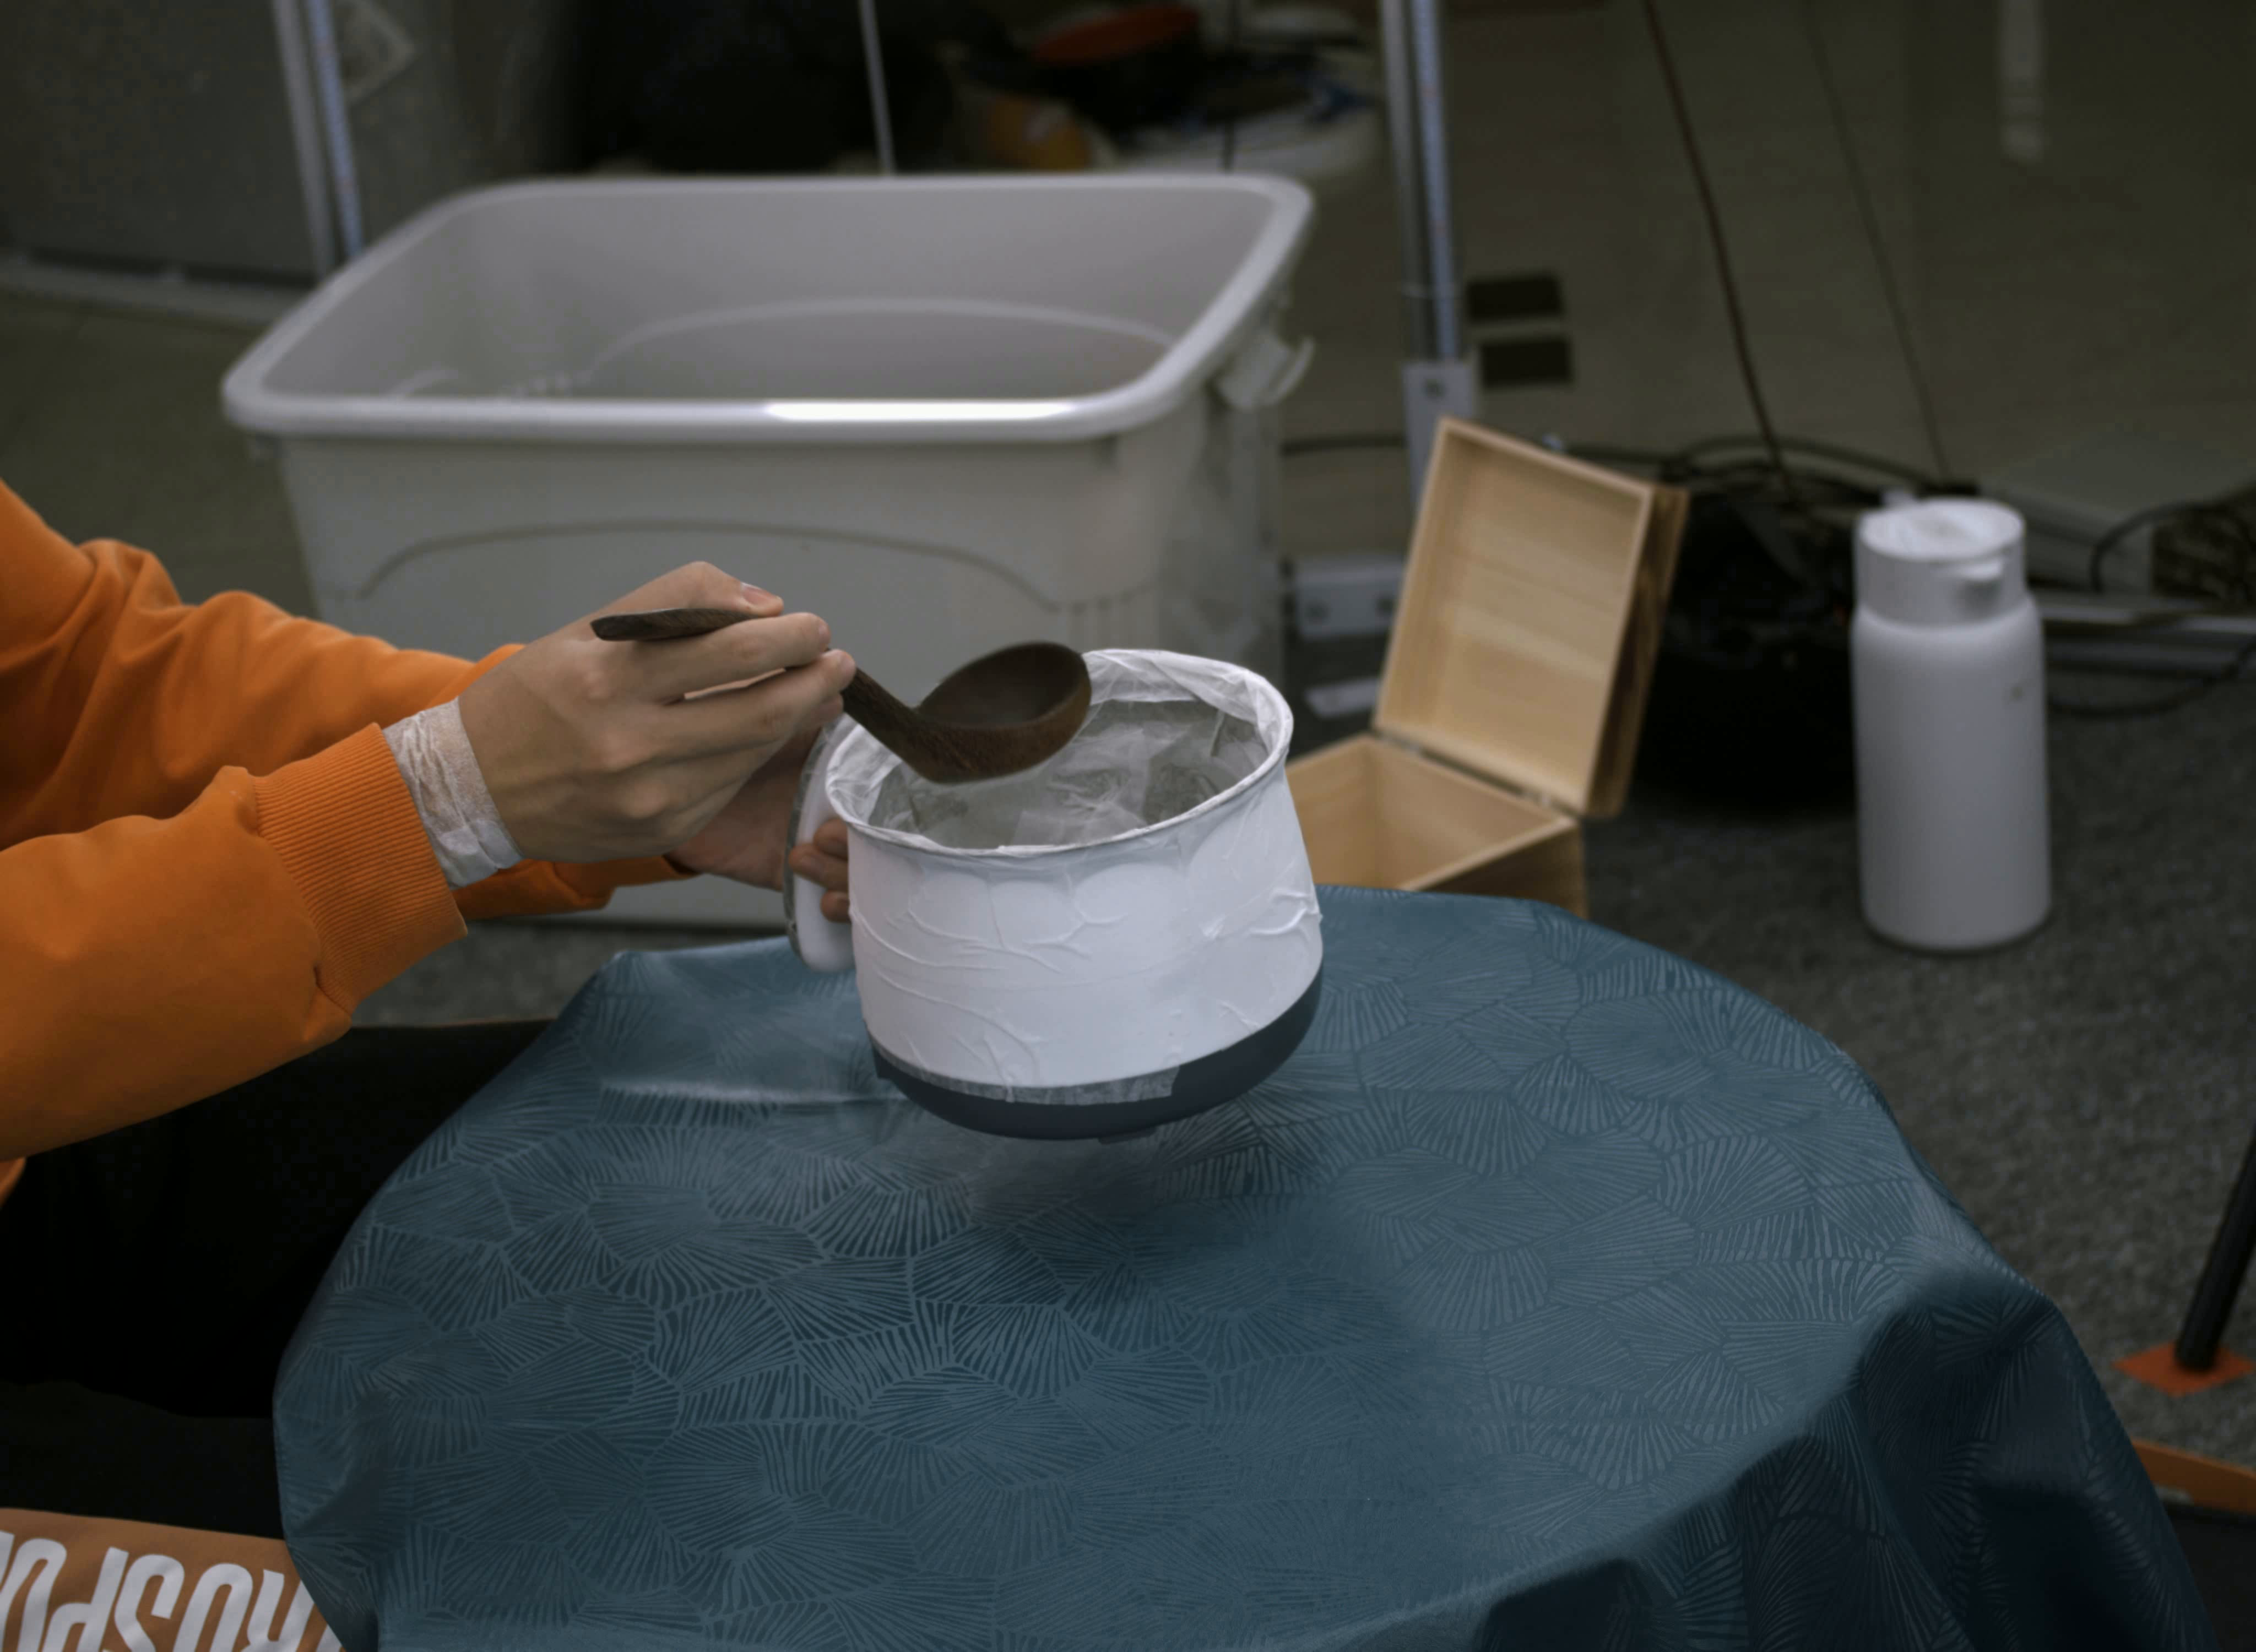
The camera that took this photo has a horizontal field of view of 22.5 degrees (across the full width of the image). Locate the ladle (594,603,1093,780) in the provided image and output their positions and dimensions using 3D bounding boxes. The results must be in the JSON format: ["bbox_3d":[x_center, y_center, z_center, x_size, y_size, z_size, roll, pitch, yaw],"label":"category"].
[{"bbox_3d":[-0.102,-0.070,2.007,0.076,0.071,0.276,-10,-18,28],"label":"ladle"}]

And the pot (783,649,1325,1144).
[{"bbox_3d":[-0.040,0.024,2.150,0.232,0.139,0.177,11,31,34],"label":"pot"}]
